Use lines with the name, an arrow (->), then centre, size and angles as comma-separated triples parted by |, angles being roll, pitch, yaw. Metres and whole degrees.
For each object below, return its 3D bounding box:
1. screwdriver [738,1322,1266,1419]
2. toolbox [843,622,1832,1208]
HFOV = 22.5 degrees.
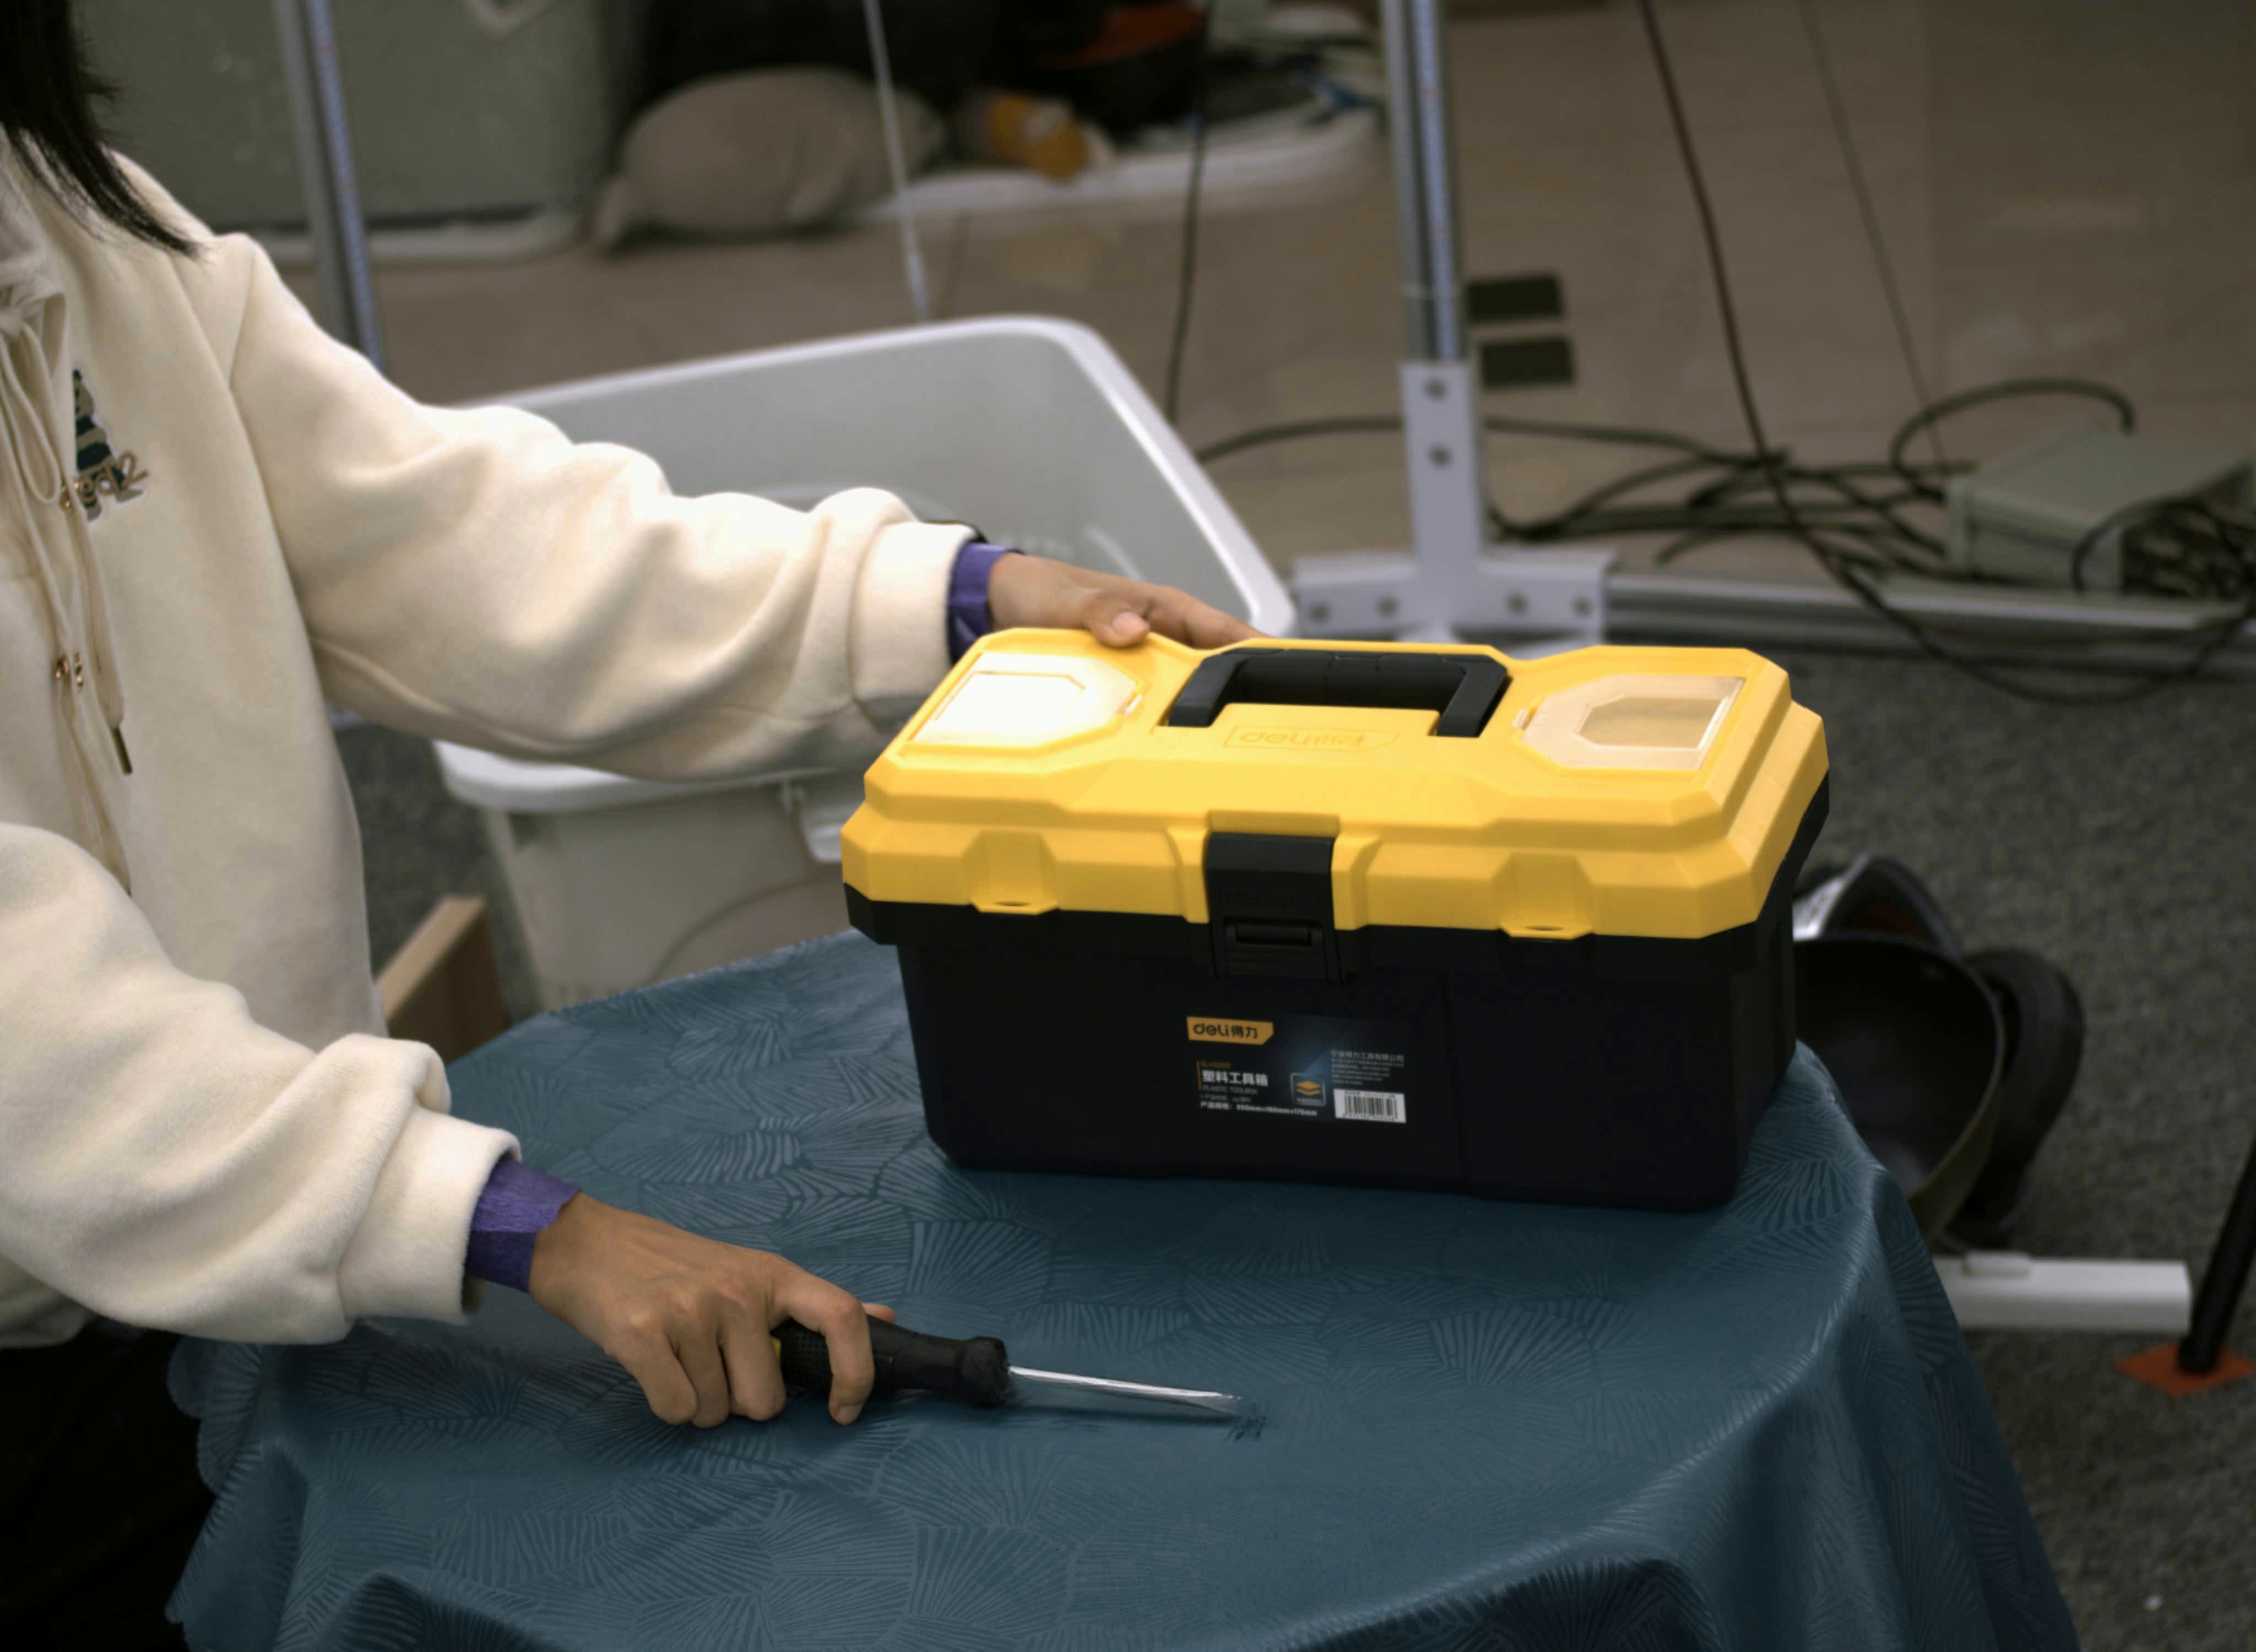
screwdriver -> -0.046, 0.200, 2.014 | 0.197, 0.032, 0.031 | 7, 28, 18
toolbox -> 0.082, 0.033, 2.146 | 0.350, 0.175, 0.179 | 3, 27, 19
